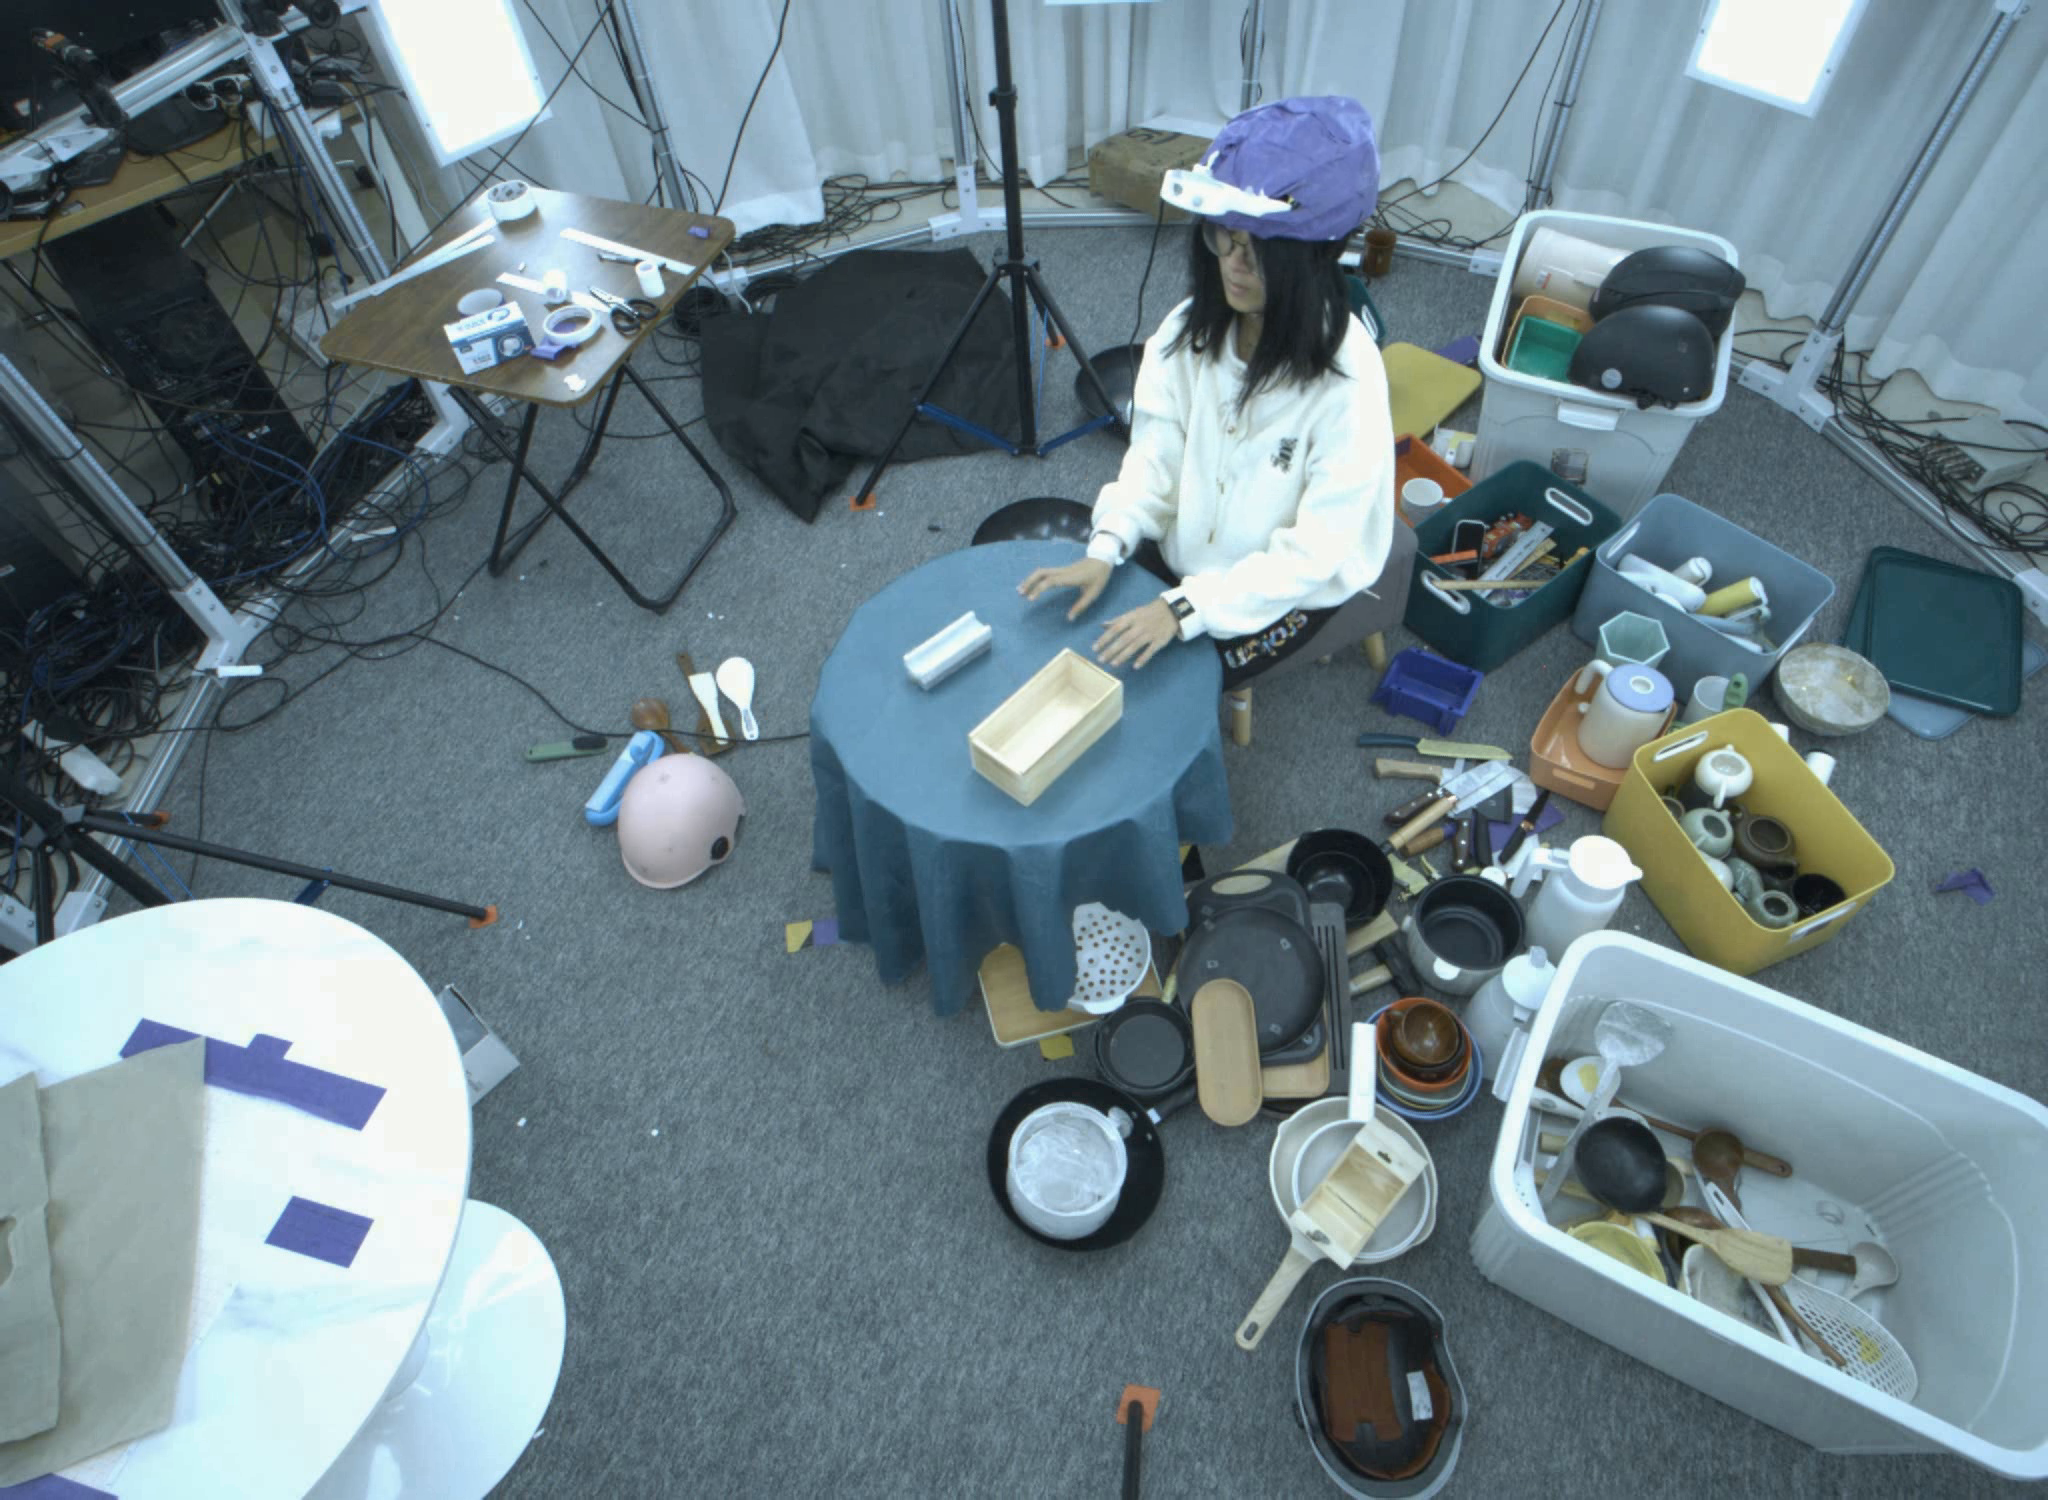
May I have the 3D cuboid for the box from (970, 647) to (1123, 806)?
[{"bbox_3d":[0.035,-0.035,1.763,0.106,0.081,0.212,34,63,23],"label":"box"}]

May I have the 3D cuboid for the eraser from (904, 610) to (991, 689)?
[{"bbox_3d":[-0.116,-0.152,1.870,0.135,0.047,0.049,-39,60,-21],"label":"eraser"}]
